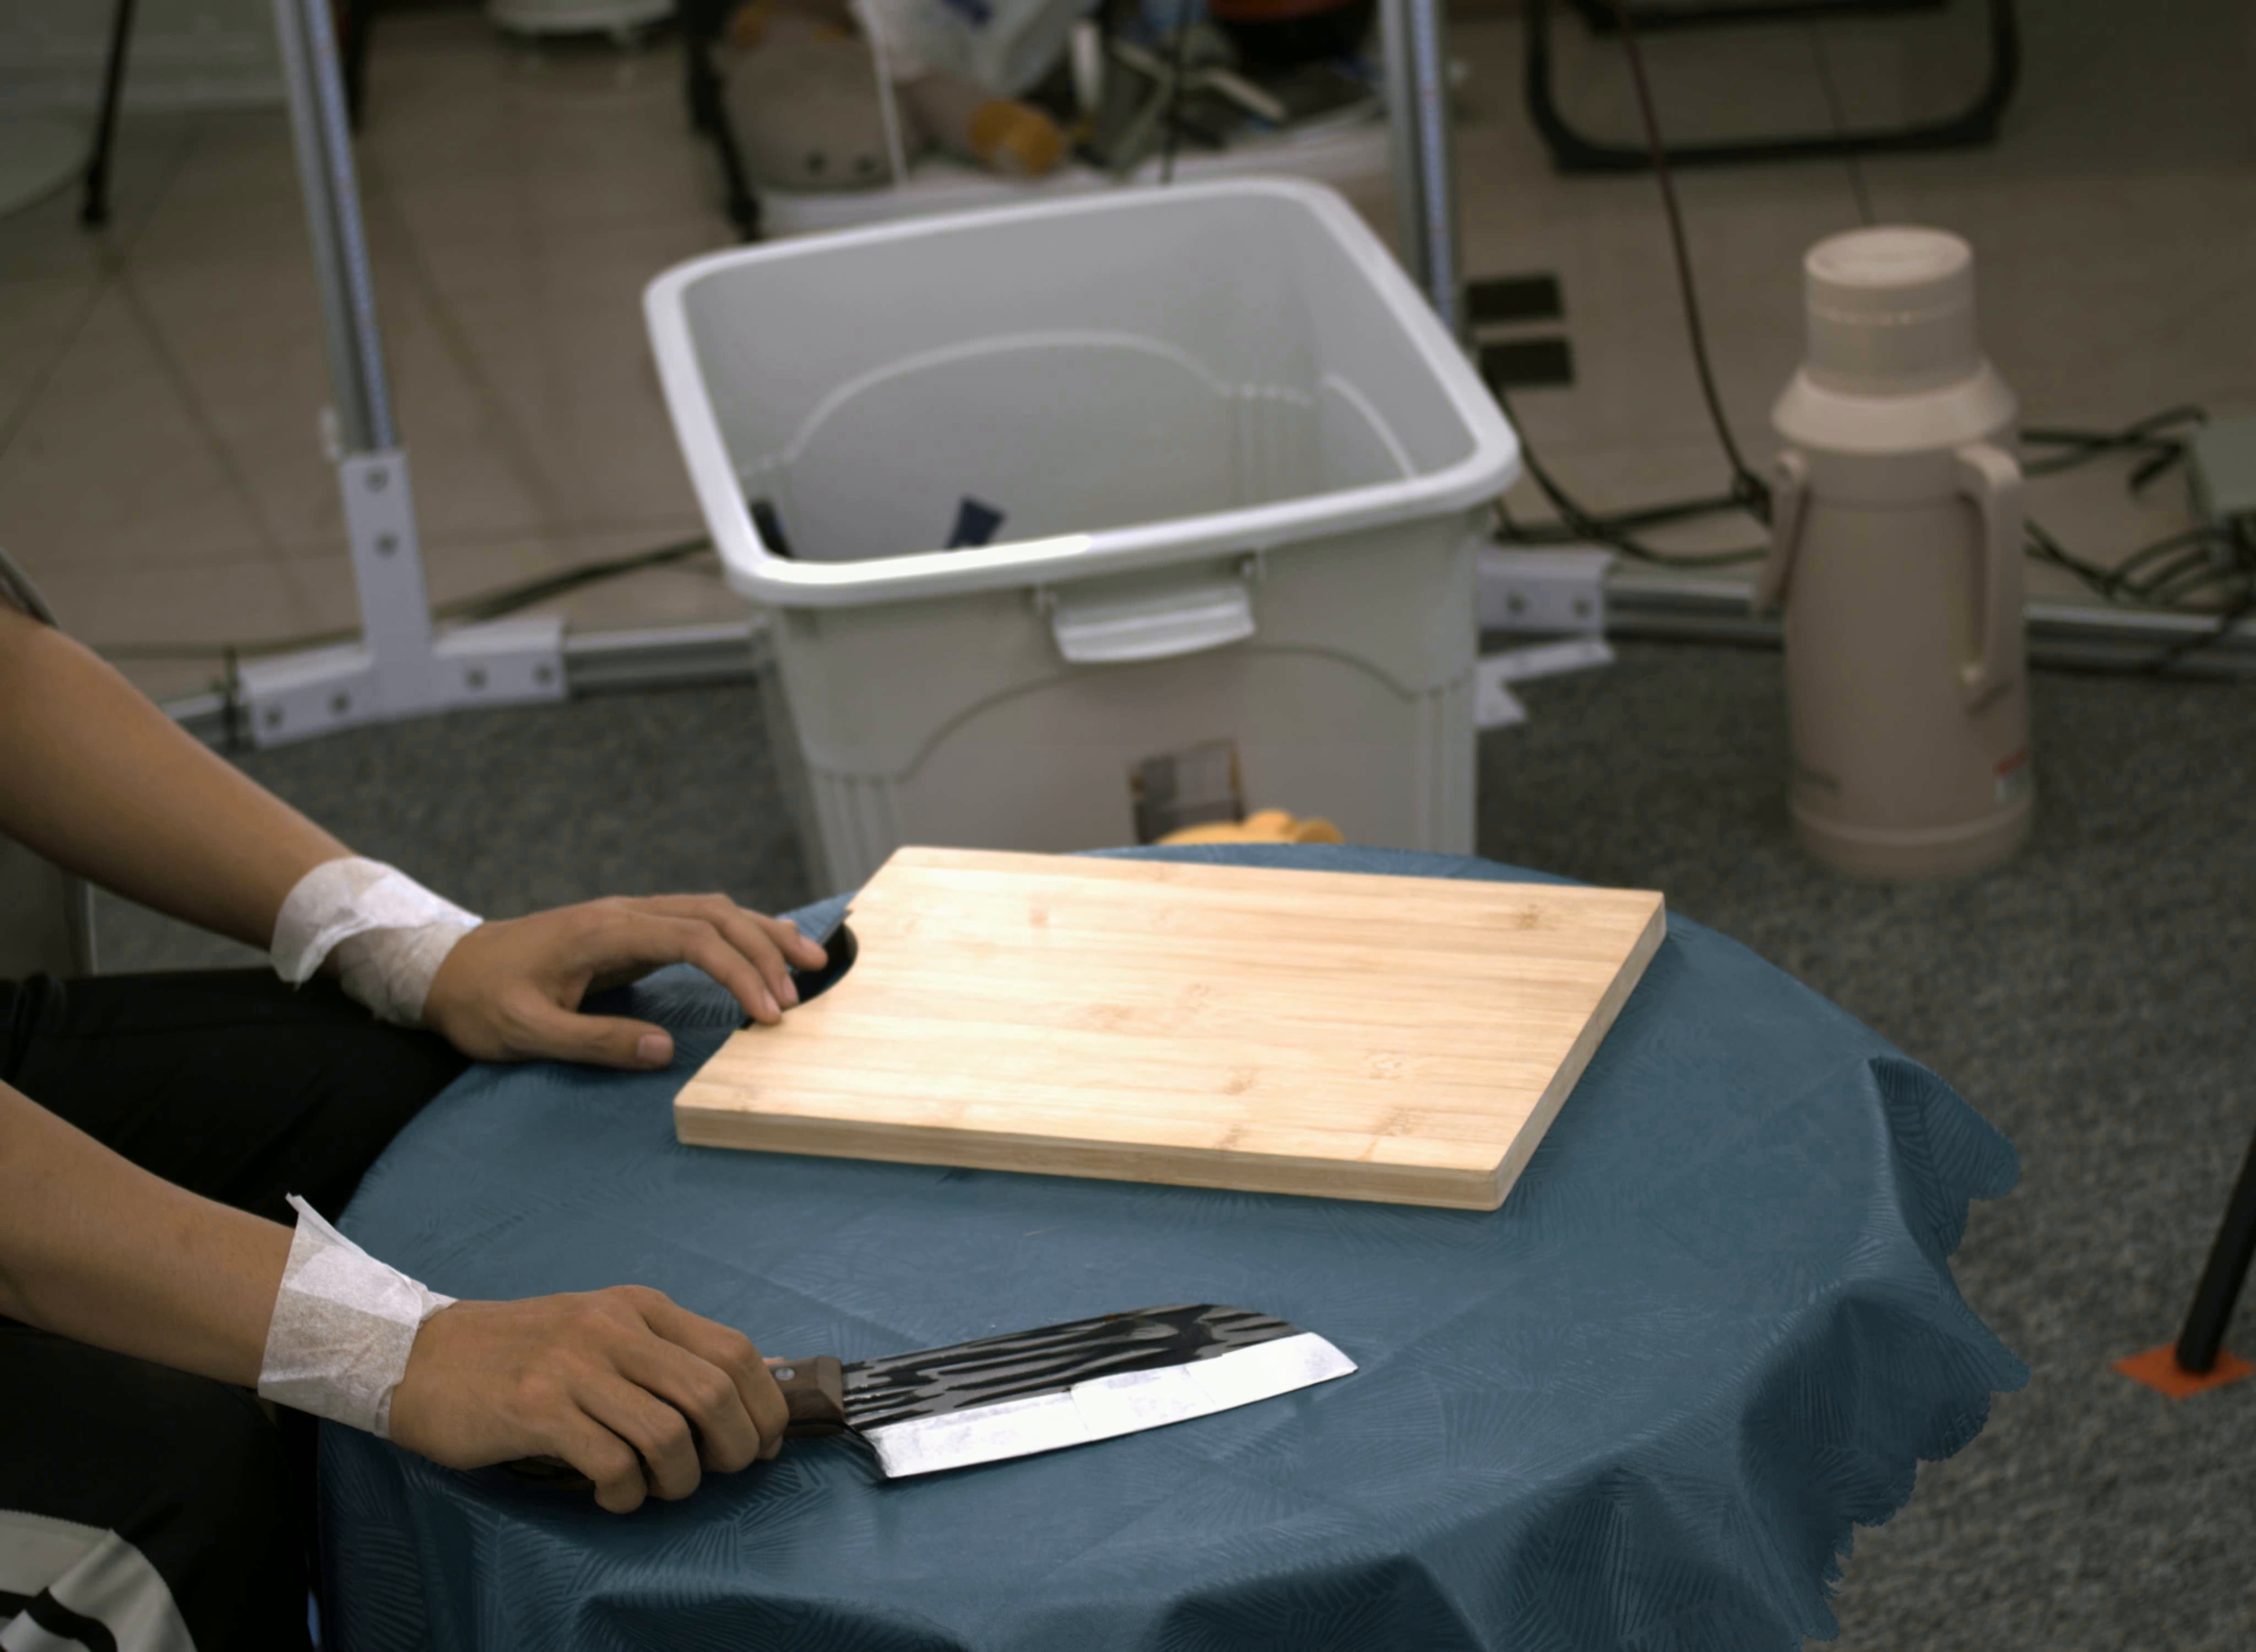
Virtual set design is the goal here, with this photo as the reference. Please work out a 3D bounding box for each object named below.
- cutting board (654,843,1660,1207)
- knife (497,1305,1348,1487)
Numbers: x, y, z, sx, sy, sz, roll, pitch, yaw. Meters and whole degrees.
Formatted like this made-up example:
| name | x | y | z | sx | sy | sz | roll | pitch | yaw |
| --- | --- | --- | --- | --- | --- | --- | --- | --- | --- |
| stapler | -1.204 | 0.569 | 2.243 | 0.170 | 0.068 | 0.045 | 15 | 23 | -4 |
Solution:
| name | x | y | z | sx | sy | sz | roll | pitch | yaw |
| --- | --- | --- | --- | --- | --- | --- | --- | --- | --- |
| cutting board | 0.015 | 0.075 | 2.265 | 0.348 | 0.024 | 0.247 | 3 | 26 | 20 |
| knife | -0.072 | 0.204 | 2.004 | 0.299 | 0.024 | 0.067 | -9 | 32 | -11 |
